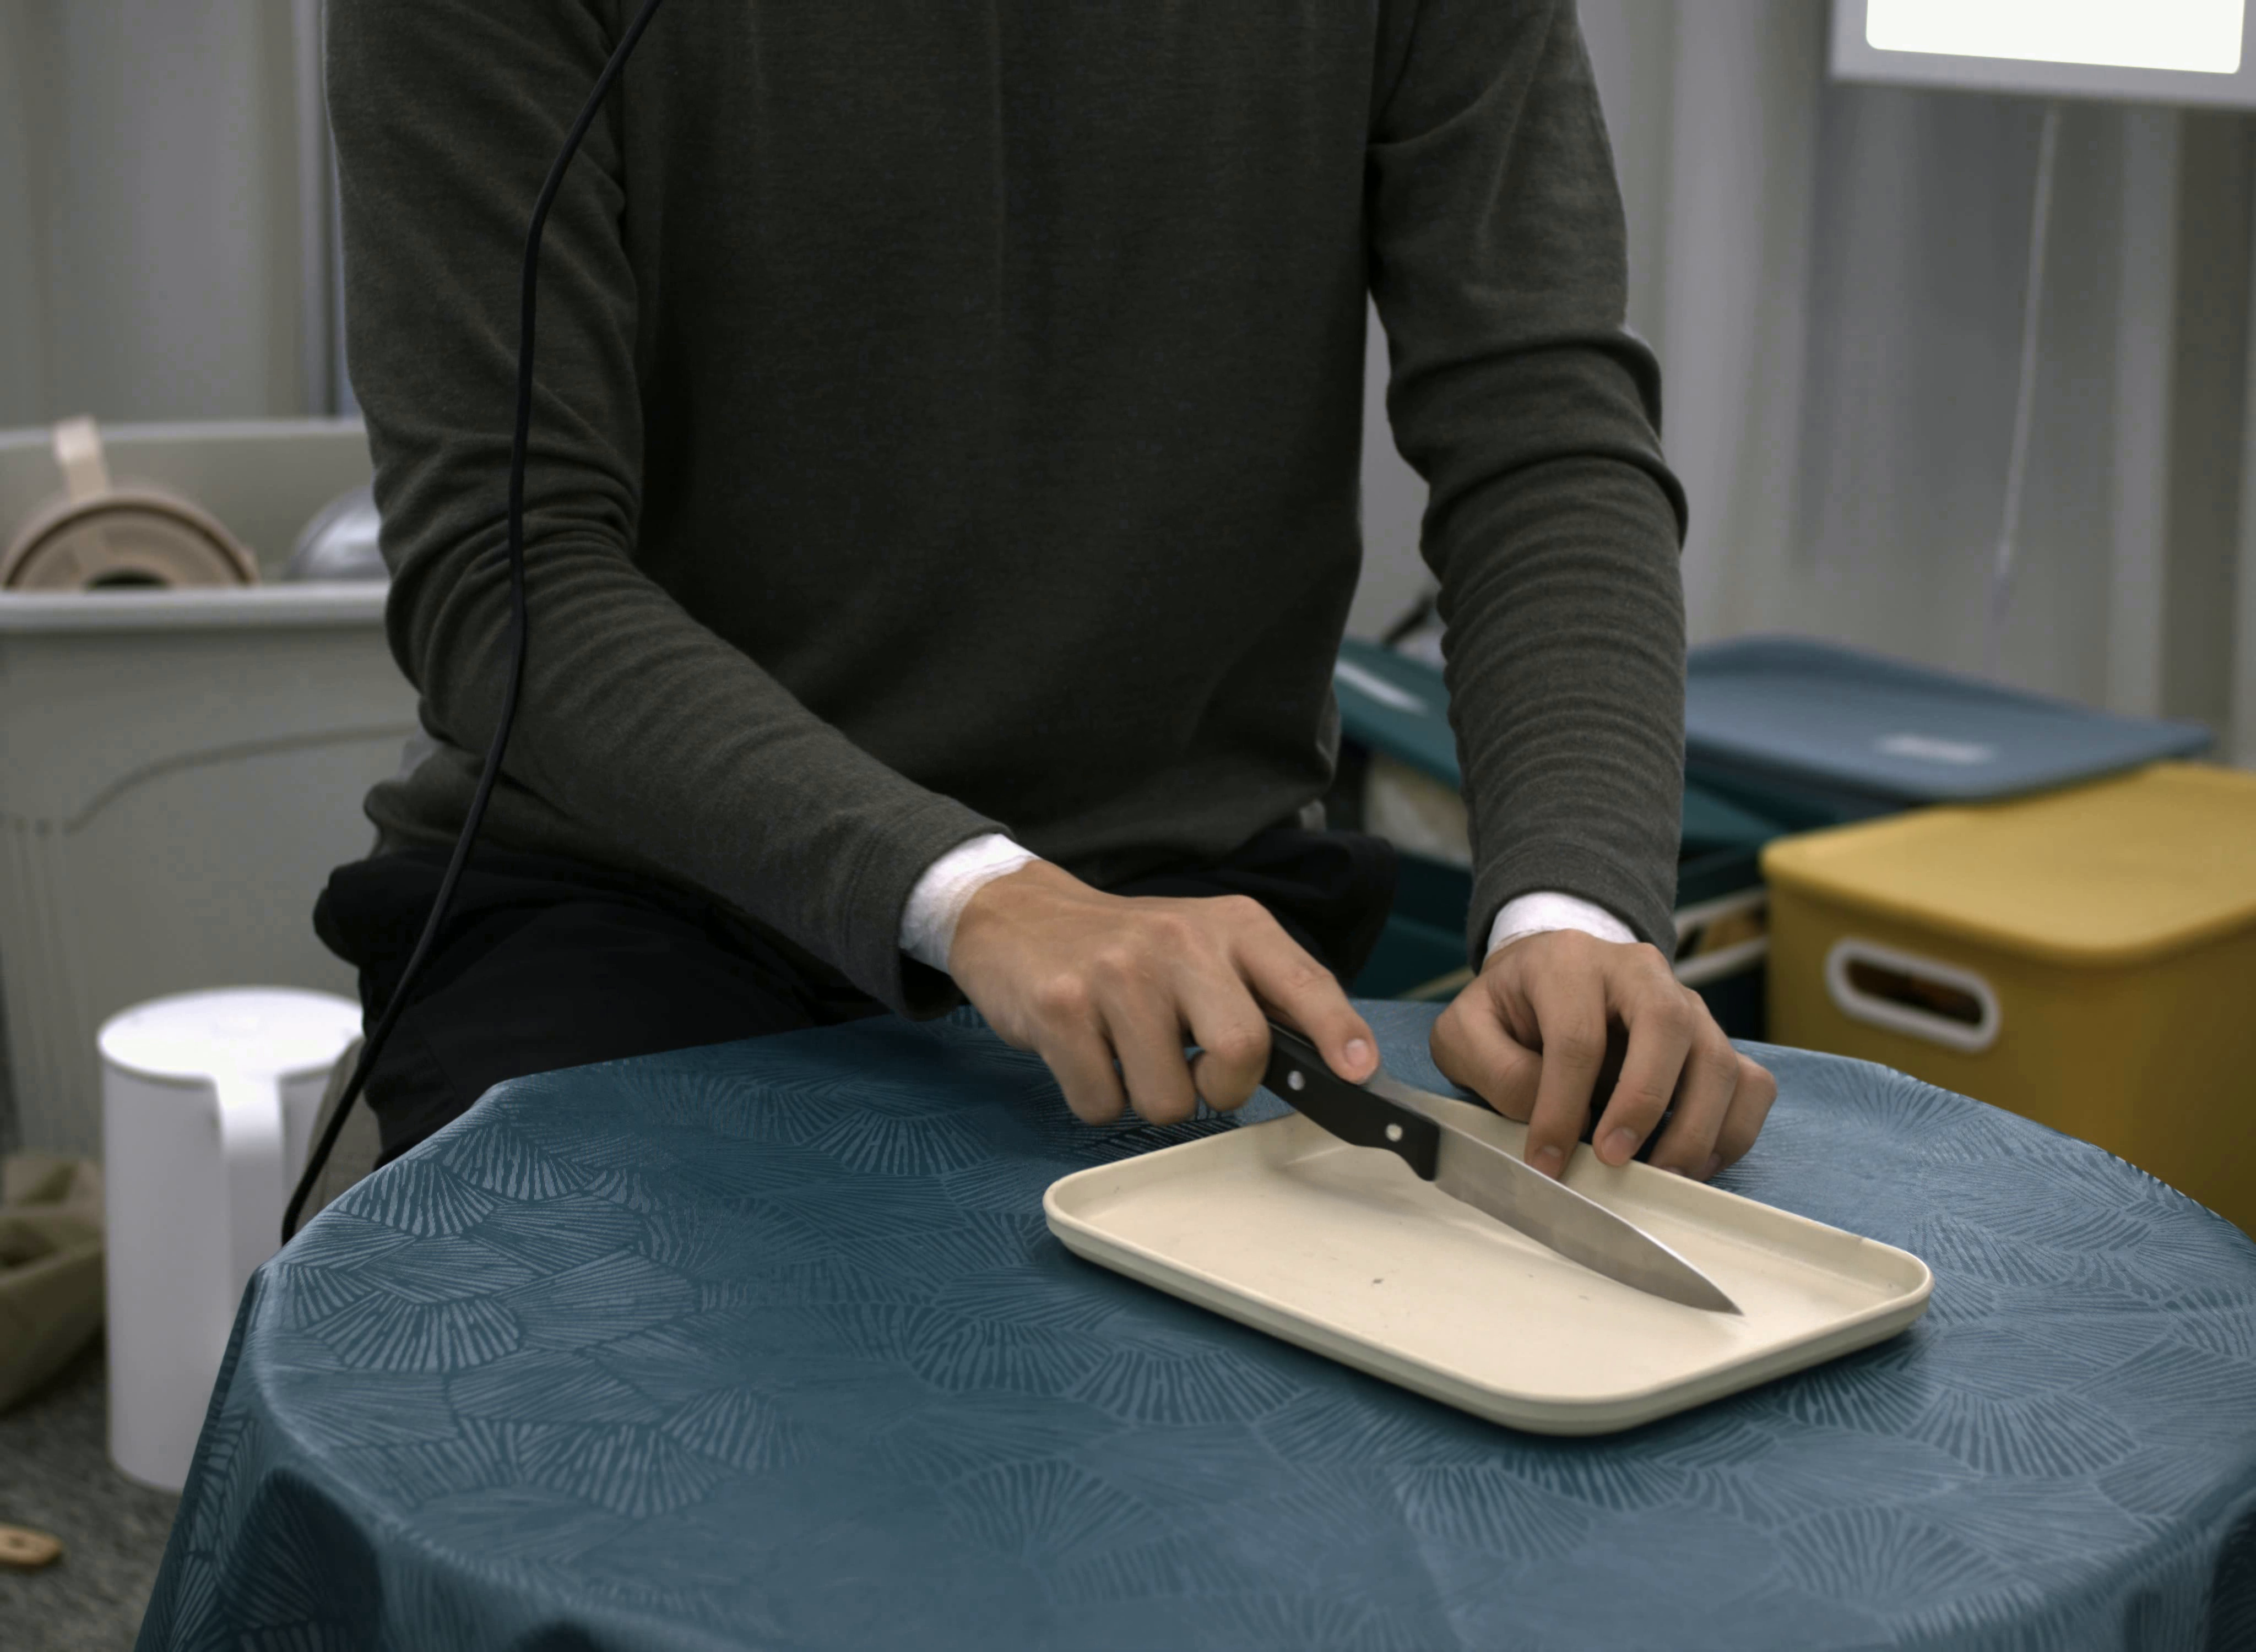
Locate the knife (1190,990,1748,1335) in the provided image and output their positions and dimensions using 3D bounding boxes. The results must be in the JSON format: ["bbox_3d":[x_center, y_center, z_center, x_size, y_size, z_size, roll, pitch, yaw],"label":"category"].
[{"bbox_3d":[0.101,0.099,1.582,0.016,0.024,0.235,-9,28,-42],"label":"knife"}]

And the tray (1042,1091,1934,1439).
[{"bbox_3d":[0.103,0.127,1.544,0.172,0.017,0.236,-13,21,-39],"label":"tray"}]
